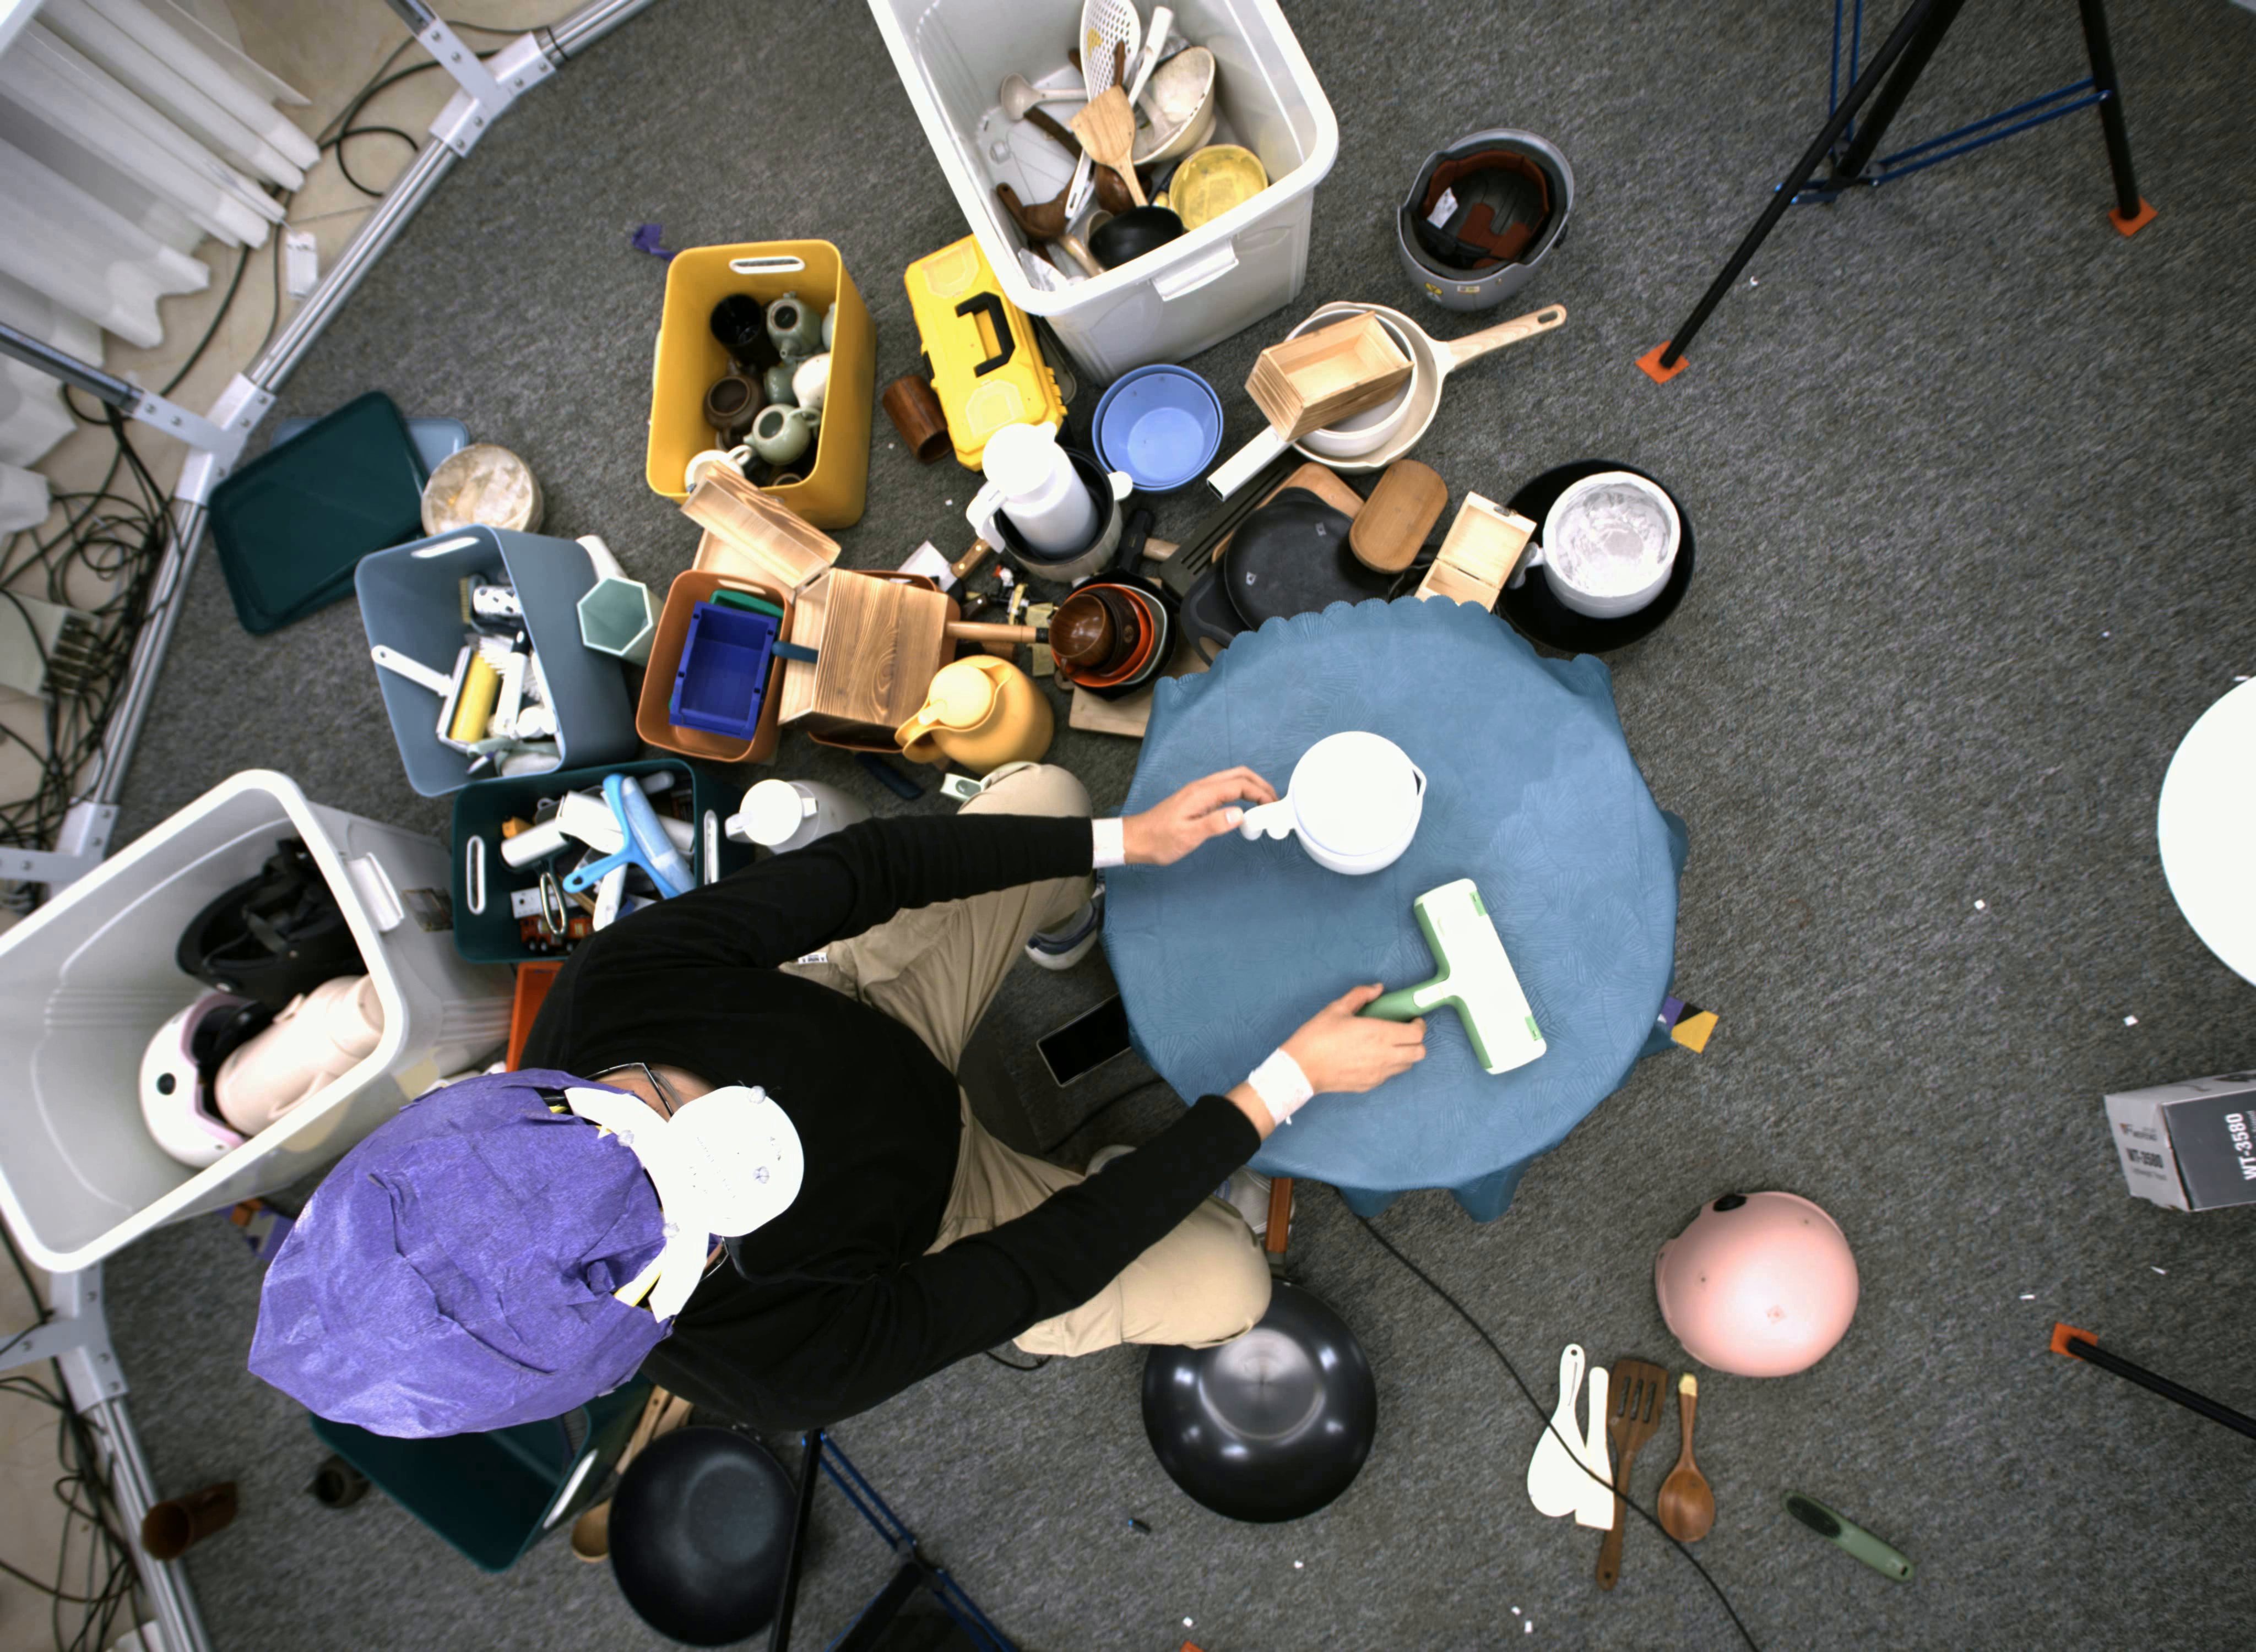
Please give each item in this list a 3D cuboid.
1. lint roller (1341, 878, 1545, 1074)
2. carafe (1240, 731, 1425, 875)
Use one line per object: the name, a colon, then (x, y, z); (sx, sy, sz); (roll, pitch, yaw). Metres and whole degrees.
lint roller: (0.303, 0.173, 1.409); (0.184, 0.082, 0.197); (-23, 81, 6)
carafe: (0.205, -0.016, 1.390); (0.192, 0.182, 0.131); (-14, 82, 11)
